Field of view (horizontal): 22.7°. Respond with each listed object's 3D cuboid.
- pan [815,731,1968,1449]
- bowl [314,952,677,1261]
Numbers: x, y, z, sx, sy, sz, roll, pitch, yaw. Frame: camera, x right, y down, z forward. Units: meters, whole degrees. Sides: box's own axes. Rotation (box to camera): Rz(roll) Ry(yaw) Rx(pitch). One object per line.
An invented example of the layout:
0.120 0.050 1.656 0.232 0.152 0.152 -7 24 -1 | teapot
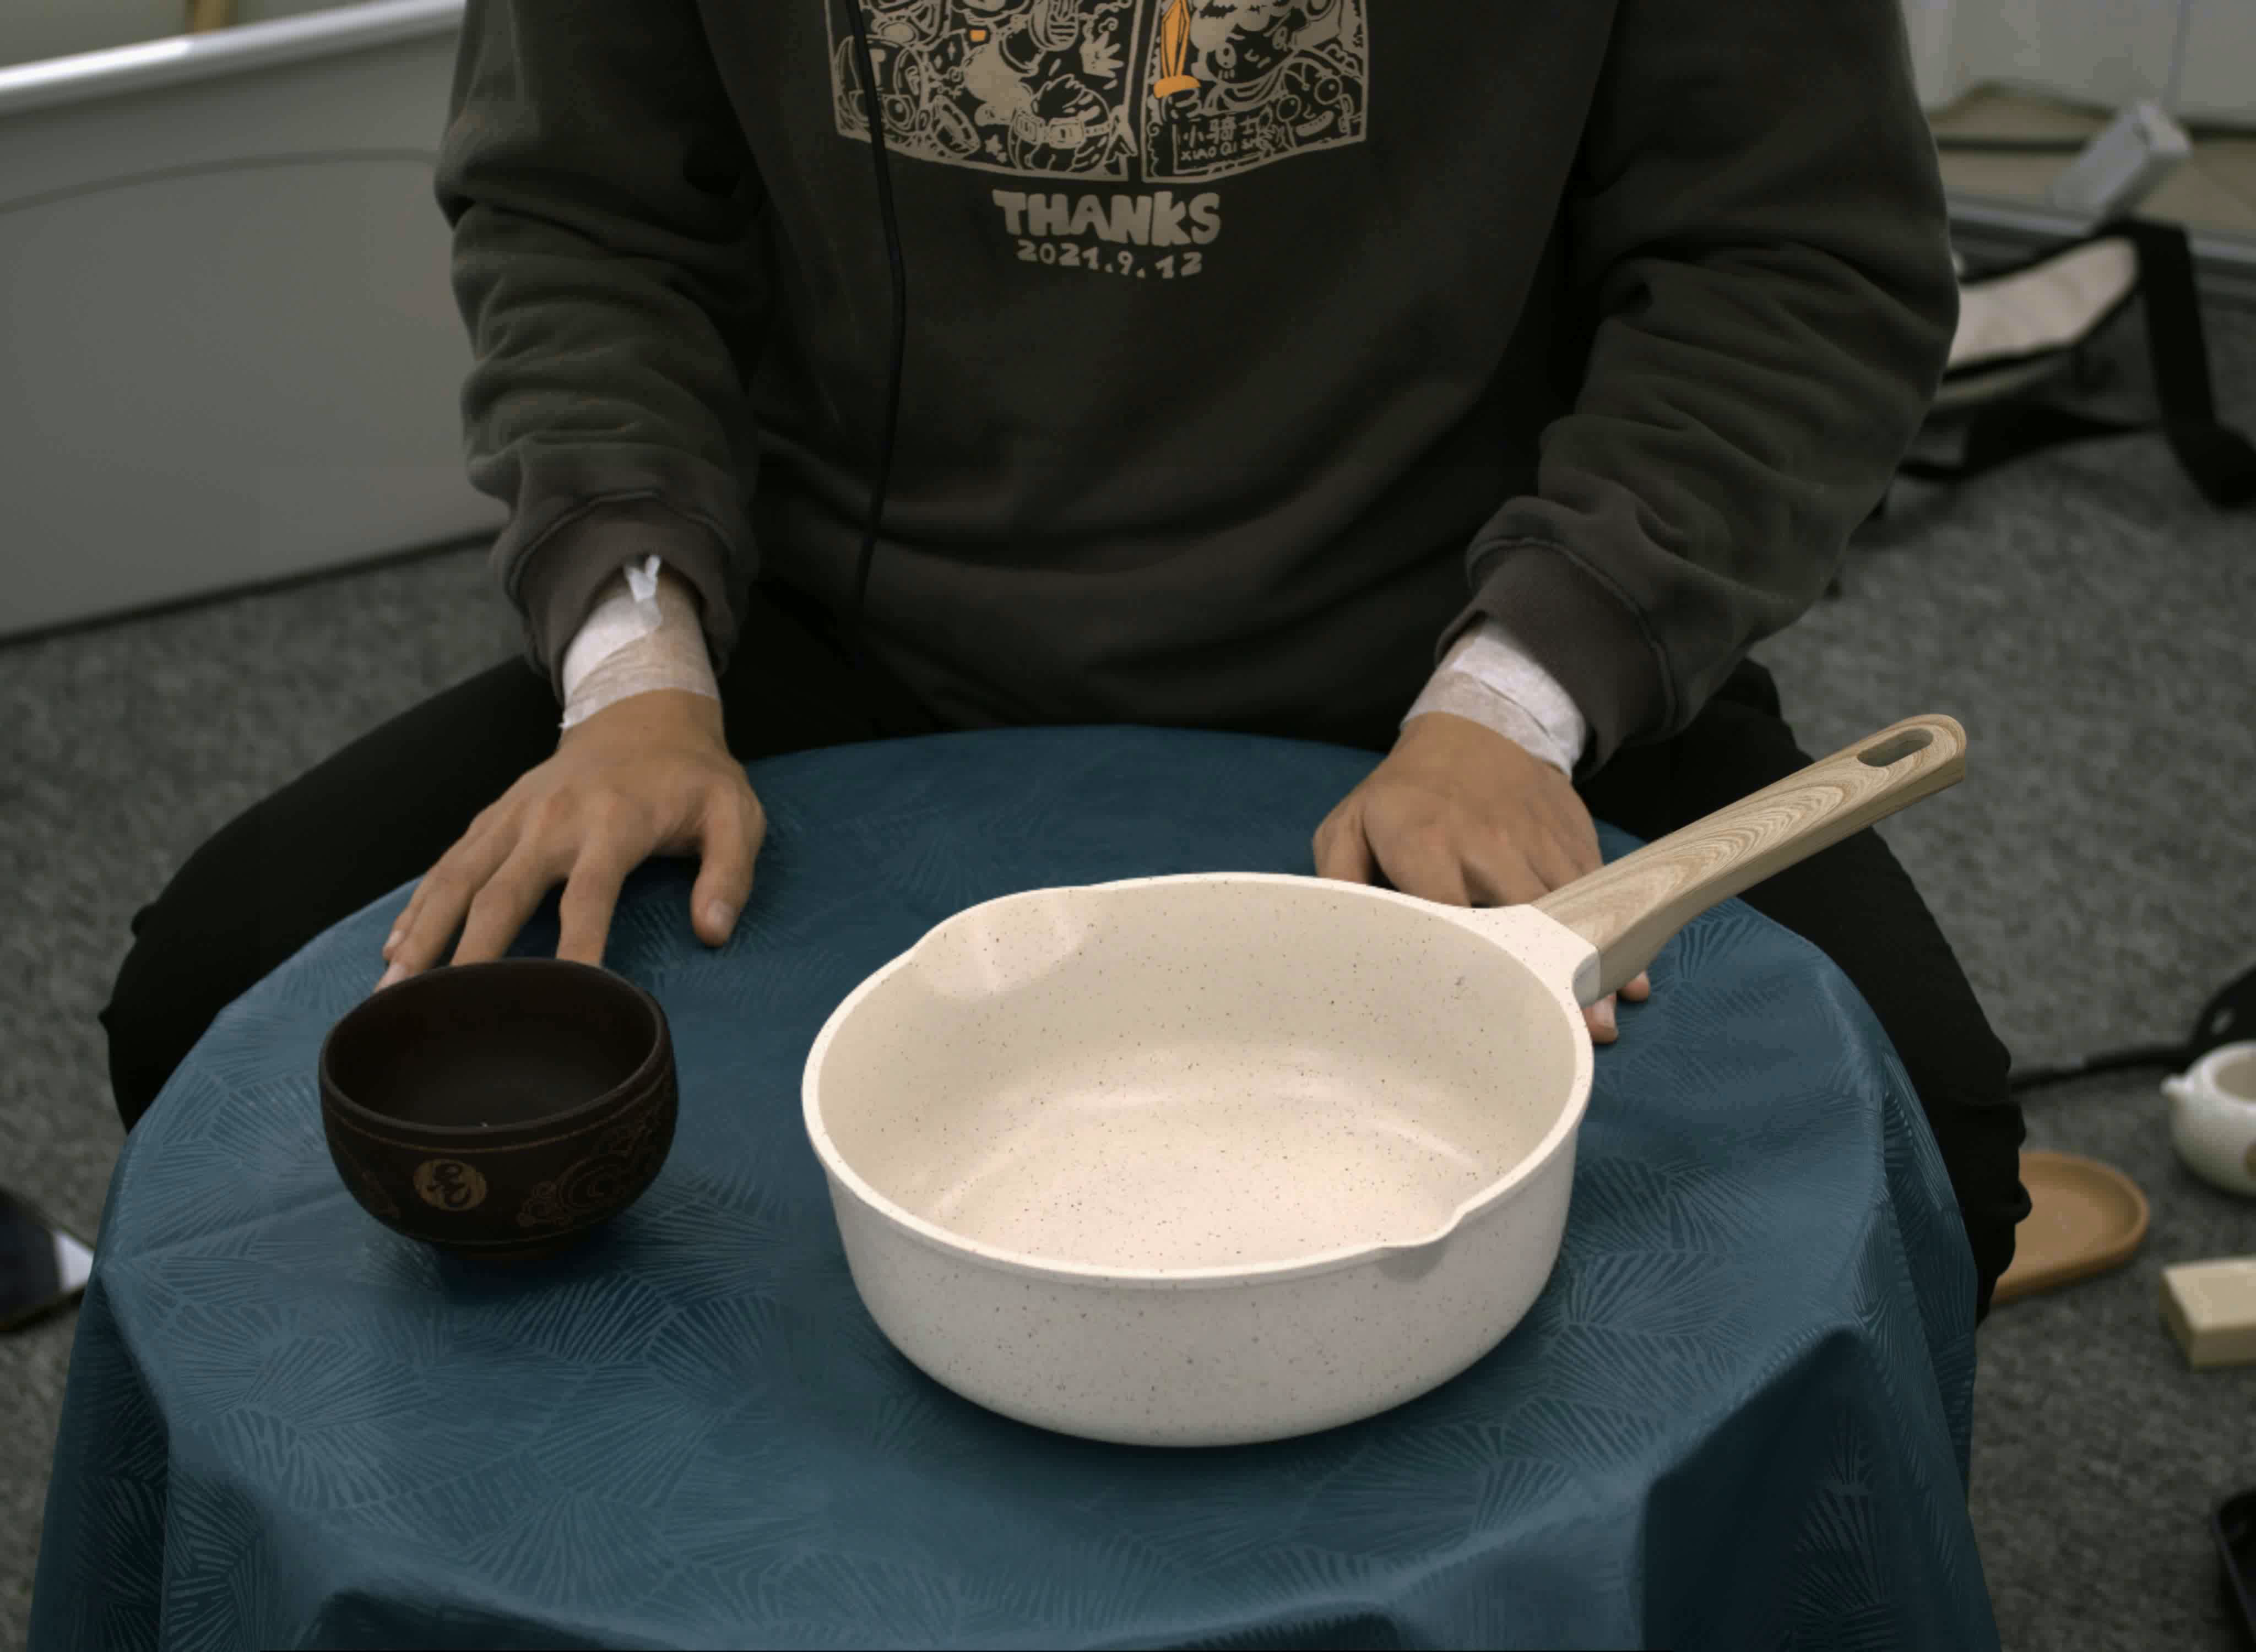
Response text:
0.104 0.078 1.829 0.438 0.101 0.264 -19 30 -28 | pan
-0.206 0.100 1.846 0.117 0.069 0.120 -3 28 2 | bowl
